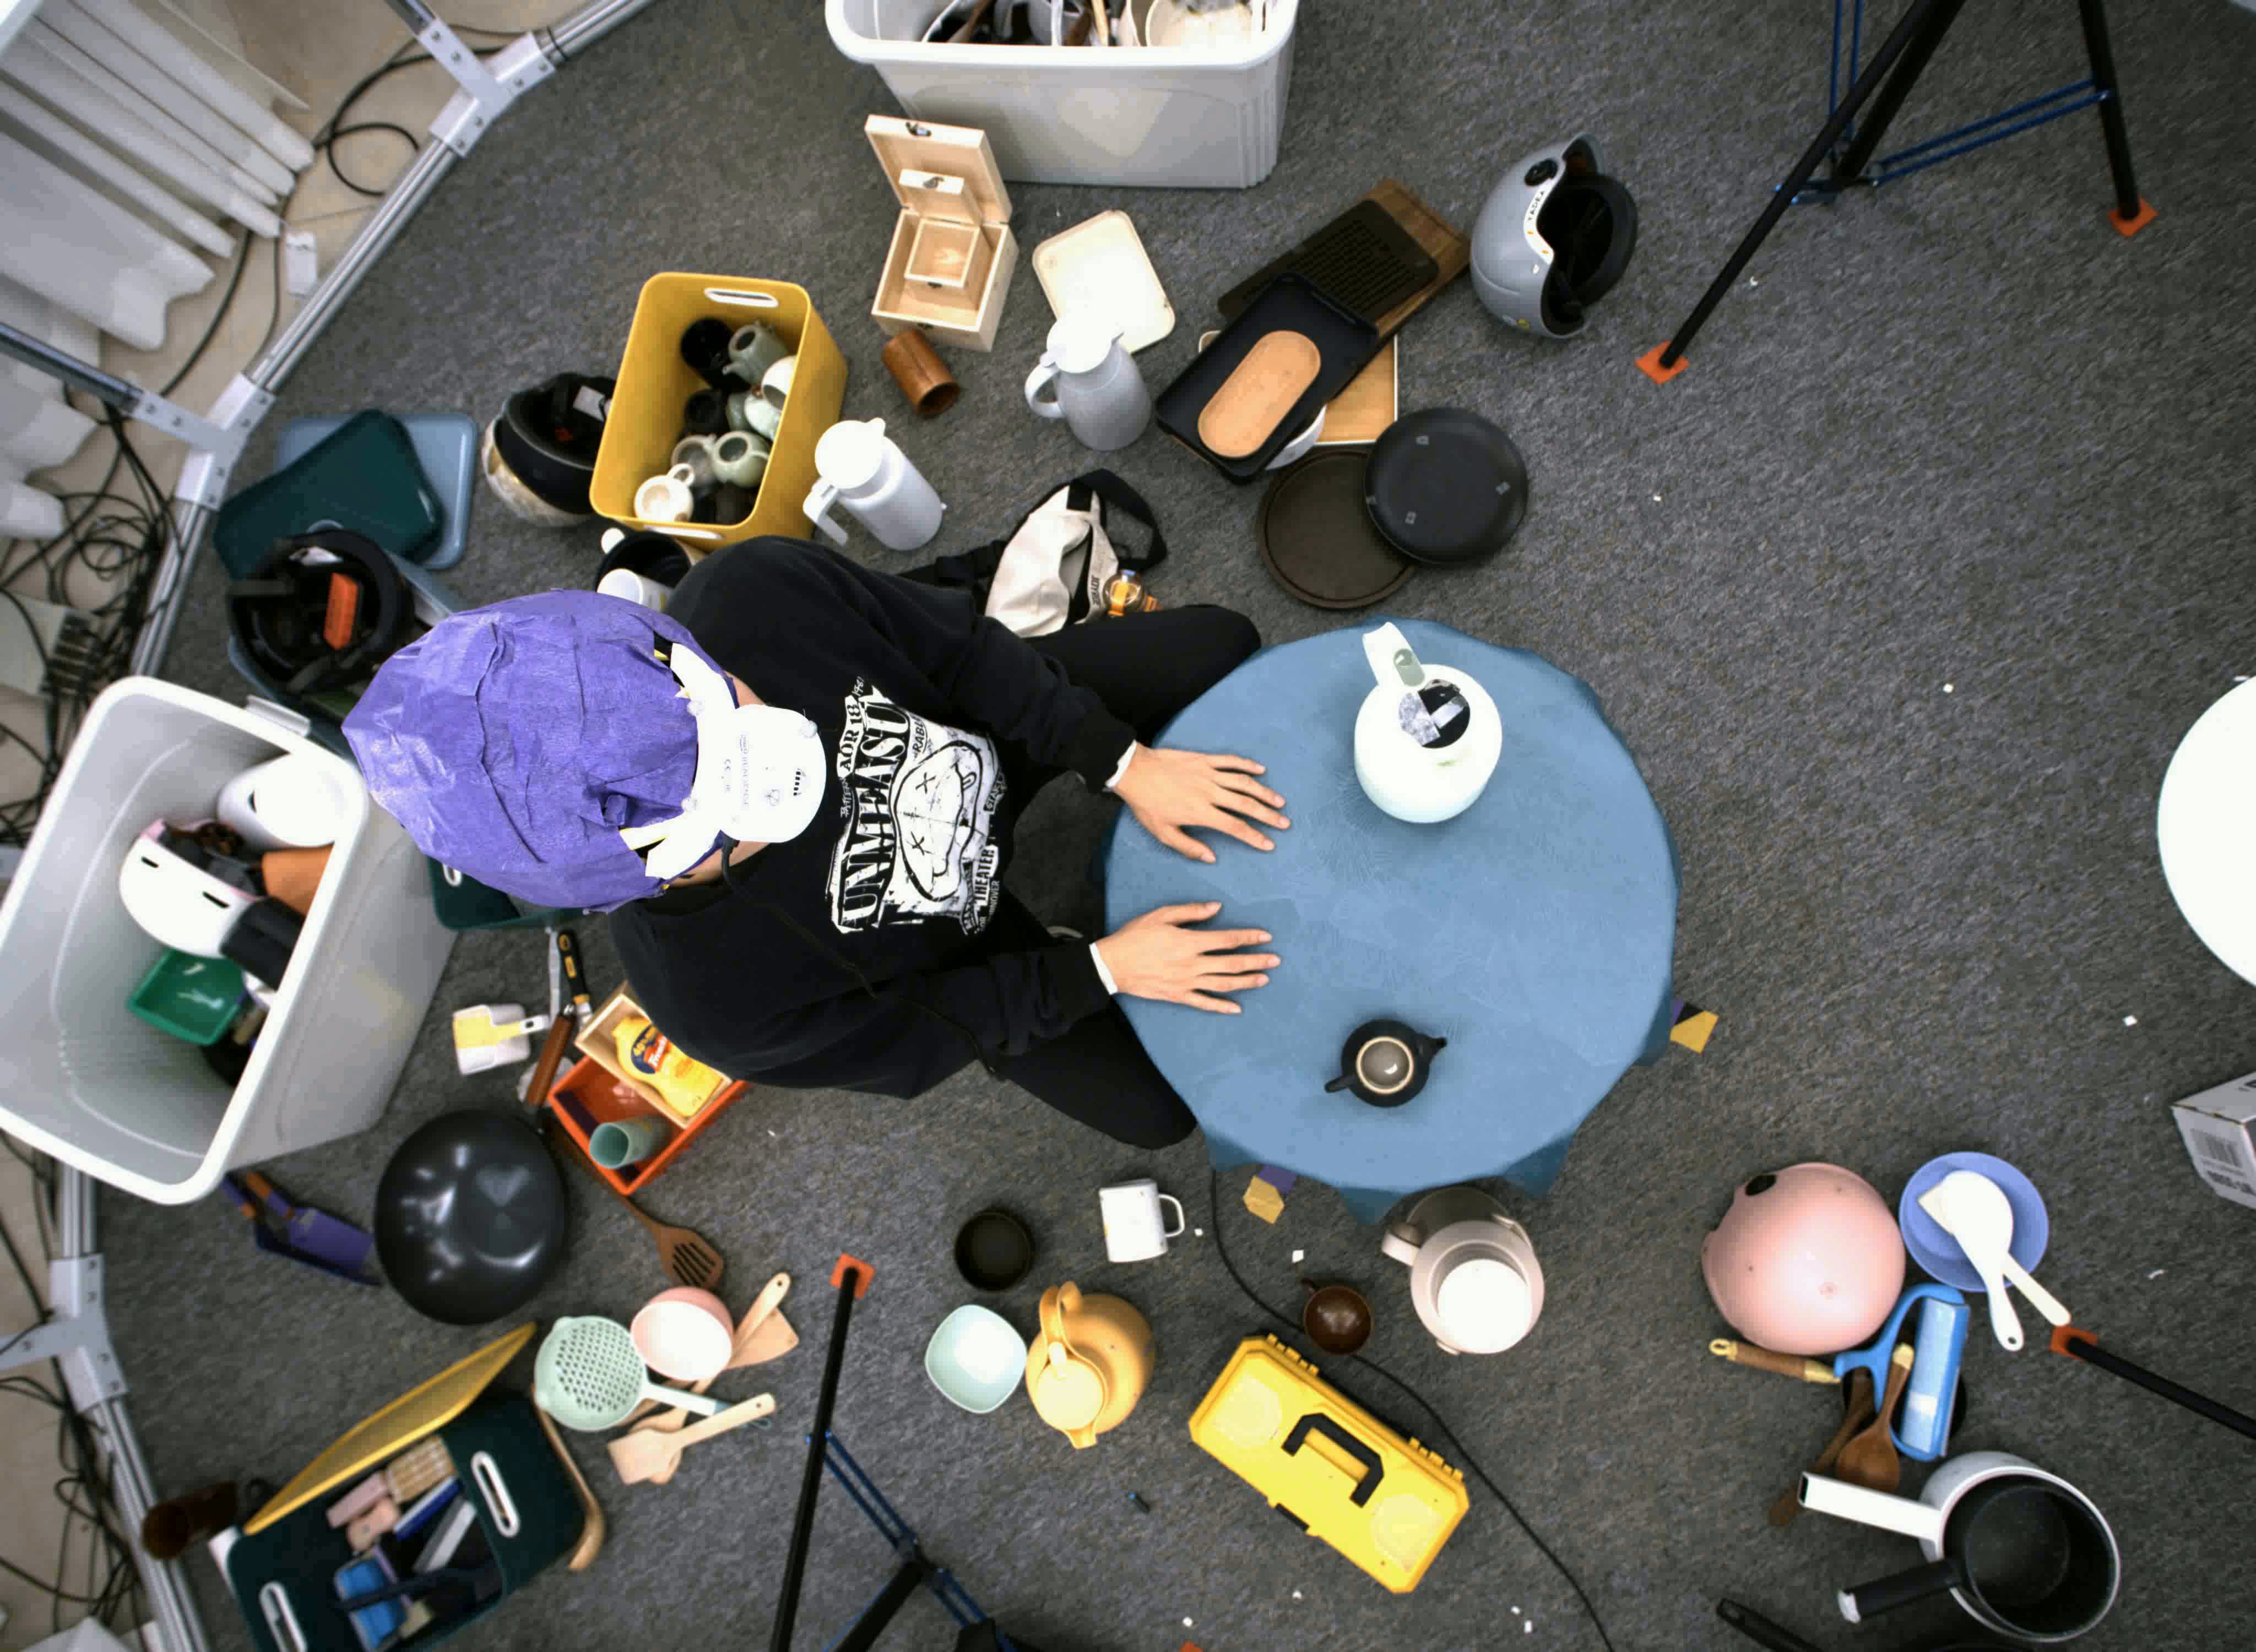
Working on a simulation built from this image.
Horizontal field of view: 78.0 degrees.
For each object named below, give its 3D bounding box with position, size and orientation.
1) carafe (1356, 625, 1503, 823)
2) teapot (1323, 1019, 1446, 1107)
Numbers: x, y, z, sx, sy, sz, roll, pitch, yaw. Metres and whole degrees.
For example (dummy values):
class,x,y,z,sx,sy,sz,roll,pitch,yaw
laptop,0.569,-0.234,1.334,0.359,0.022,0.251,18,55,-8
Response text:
class,x,y,z,sx,sy,sz,roll,pitch,yaw
carafe,0.286,-0.100,1.339,0.145,0.257,0.185,-29,78,8
teapot,0.264,0.243,1.427,0.134,0.053,0.090,-24,81,8
